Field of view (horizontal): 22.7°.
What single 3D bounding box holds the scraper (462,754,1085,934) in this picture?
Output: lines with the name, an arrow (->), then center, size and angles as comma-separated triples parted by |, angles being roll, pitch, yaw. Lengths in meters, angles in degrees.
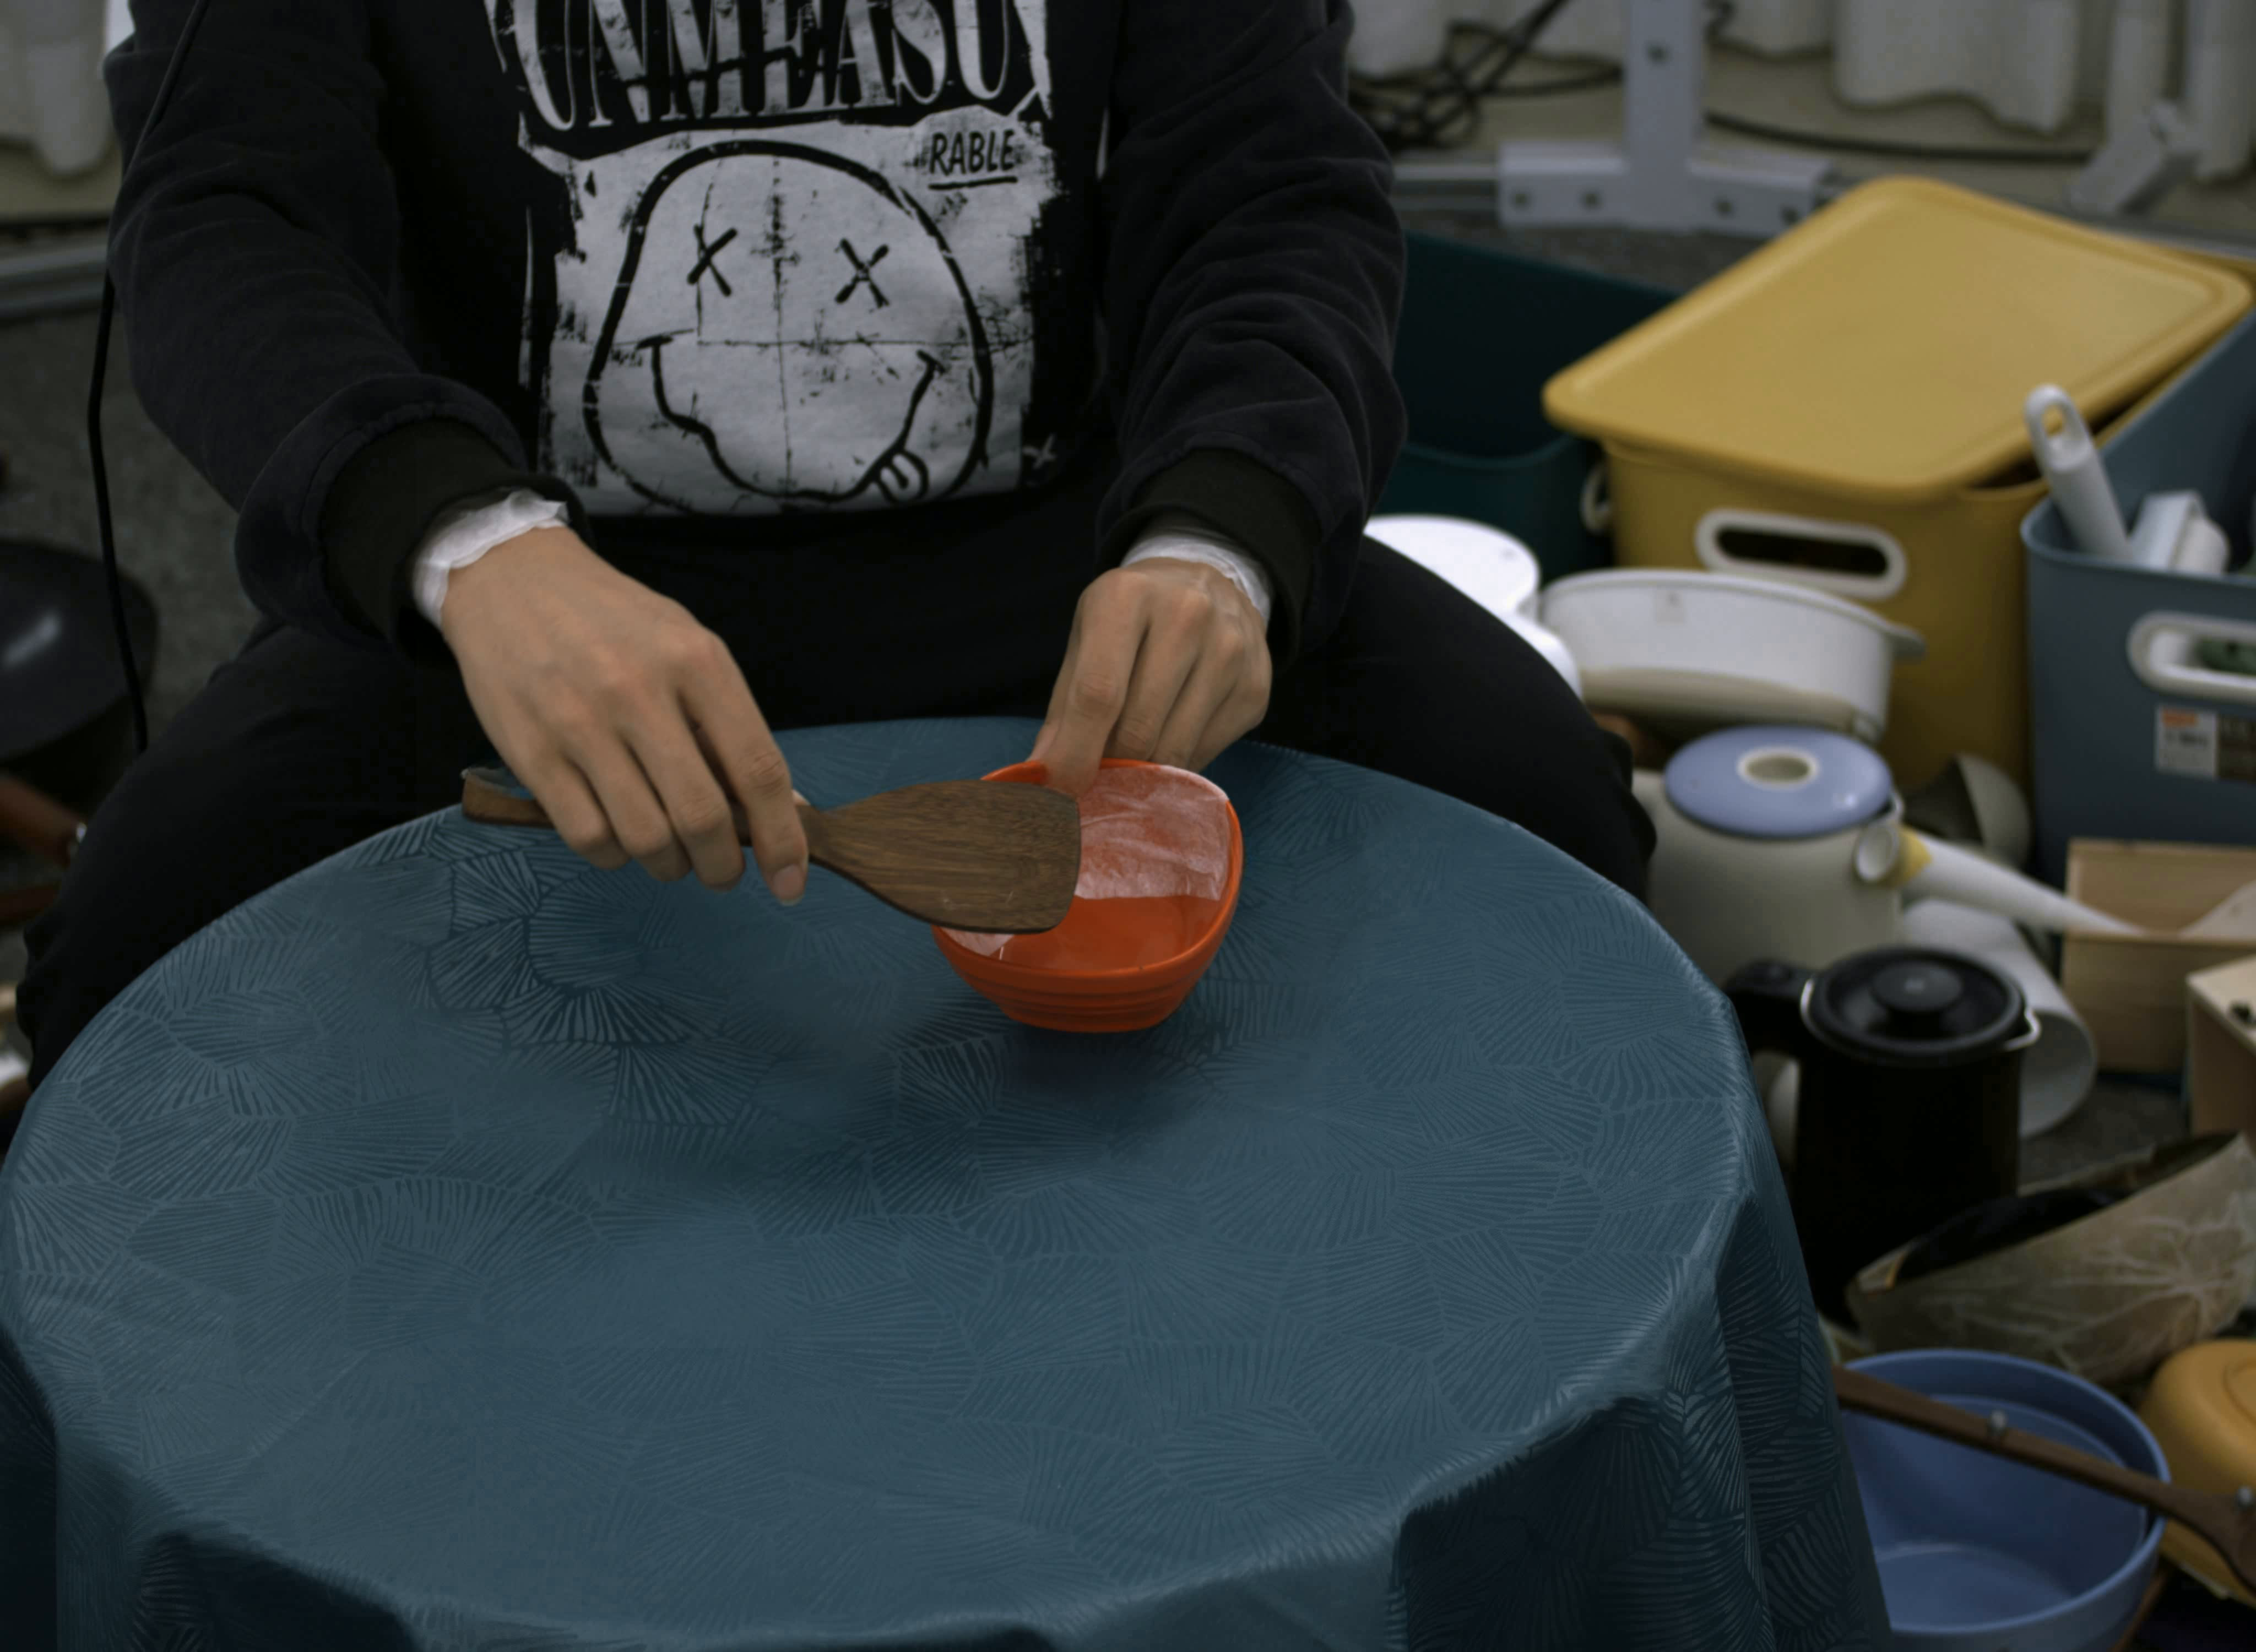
scraper -> -0.119, -0.001, 1.895 | 0.210, 0.010, 0.077 | 8, 40, -2

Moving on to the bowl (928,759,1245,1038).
bowl -> -0.013, 0.032, 1.952 | 0.118, 0.050, 0.121 | -2, 43, 2
